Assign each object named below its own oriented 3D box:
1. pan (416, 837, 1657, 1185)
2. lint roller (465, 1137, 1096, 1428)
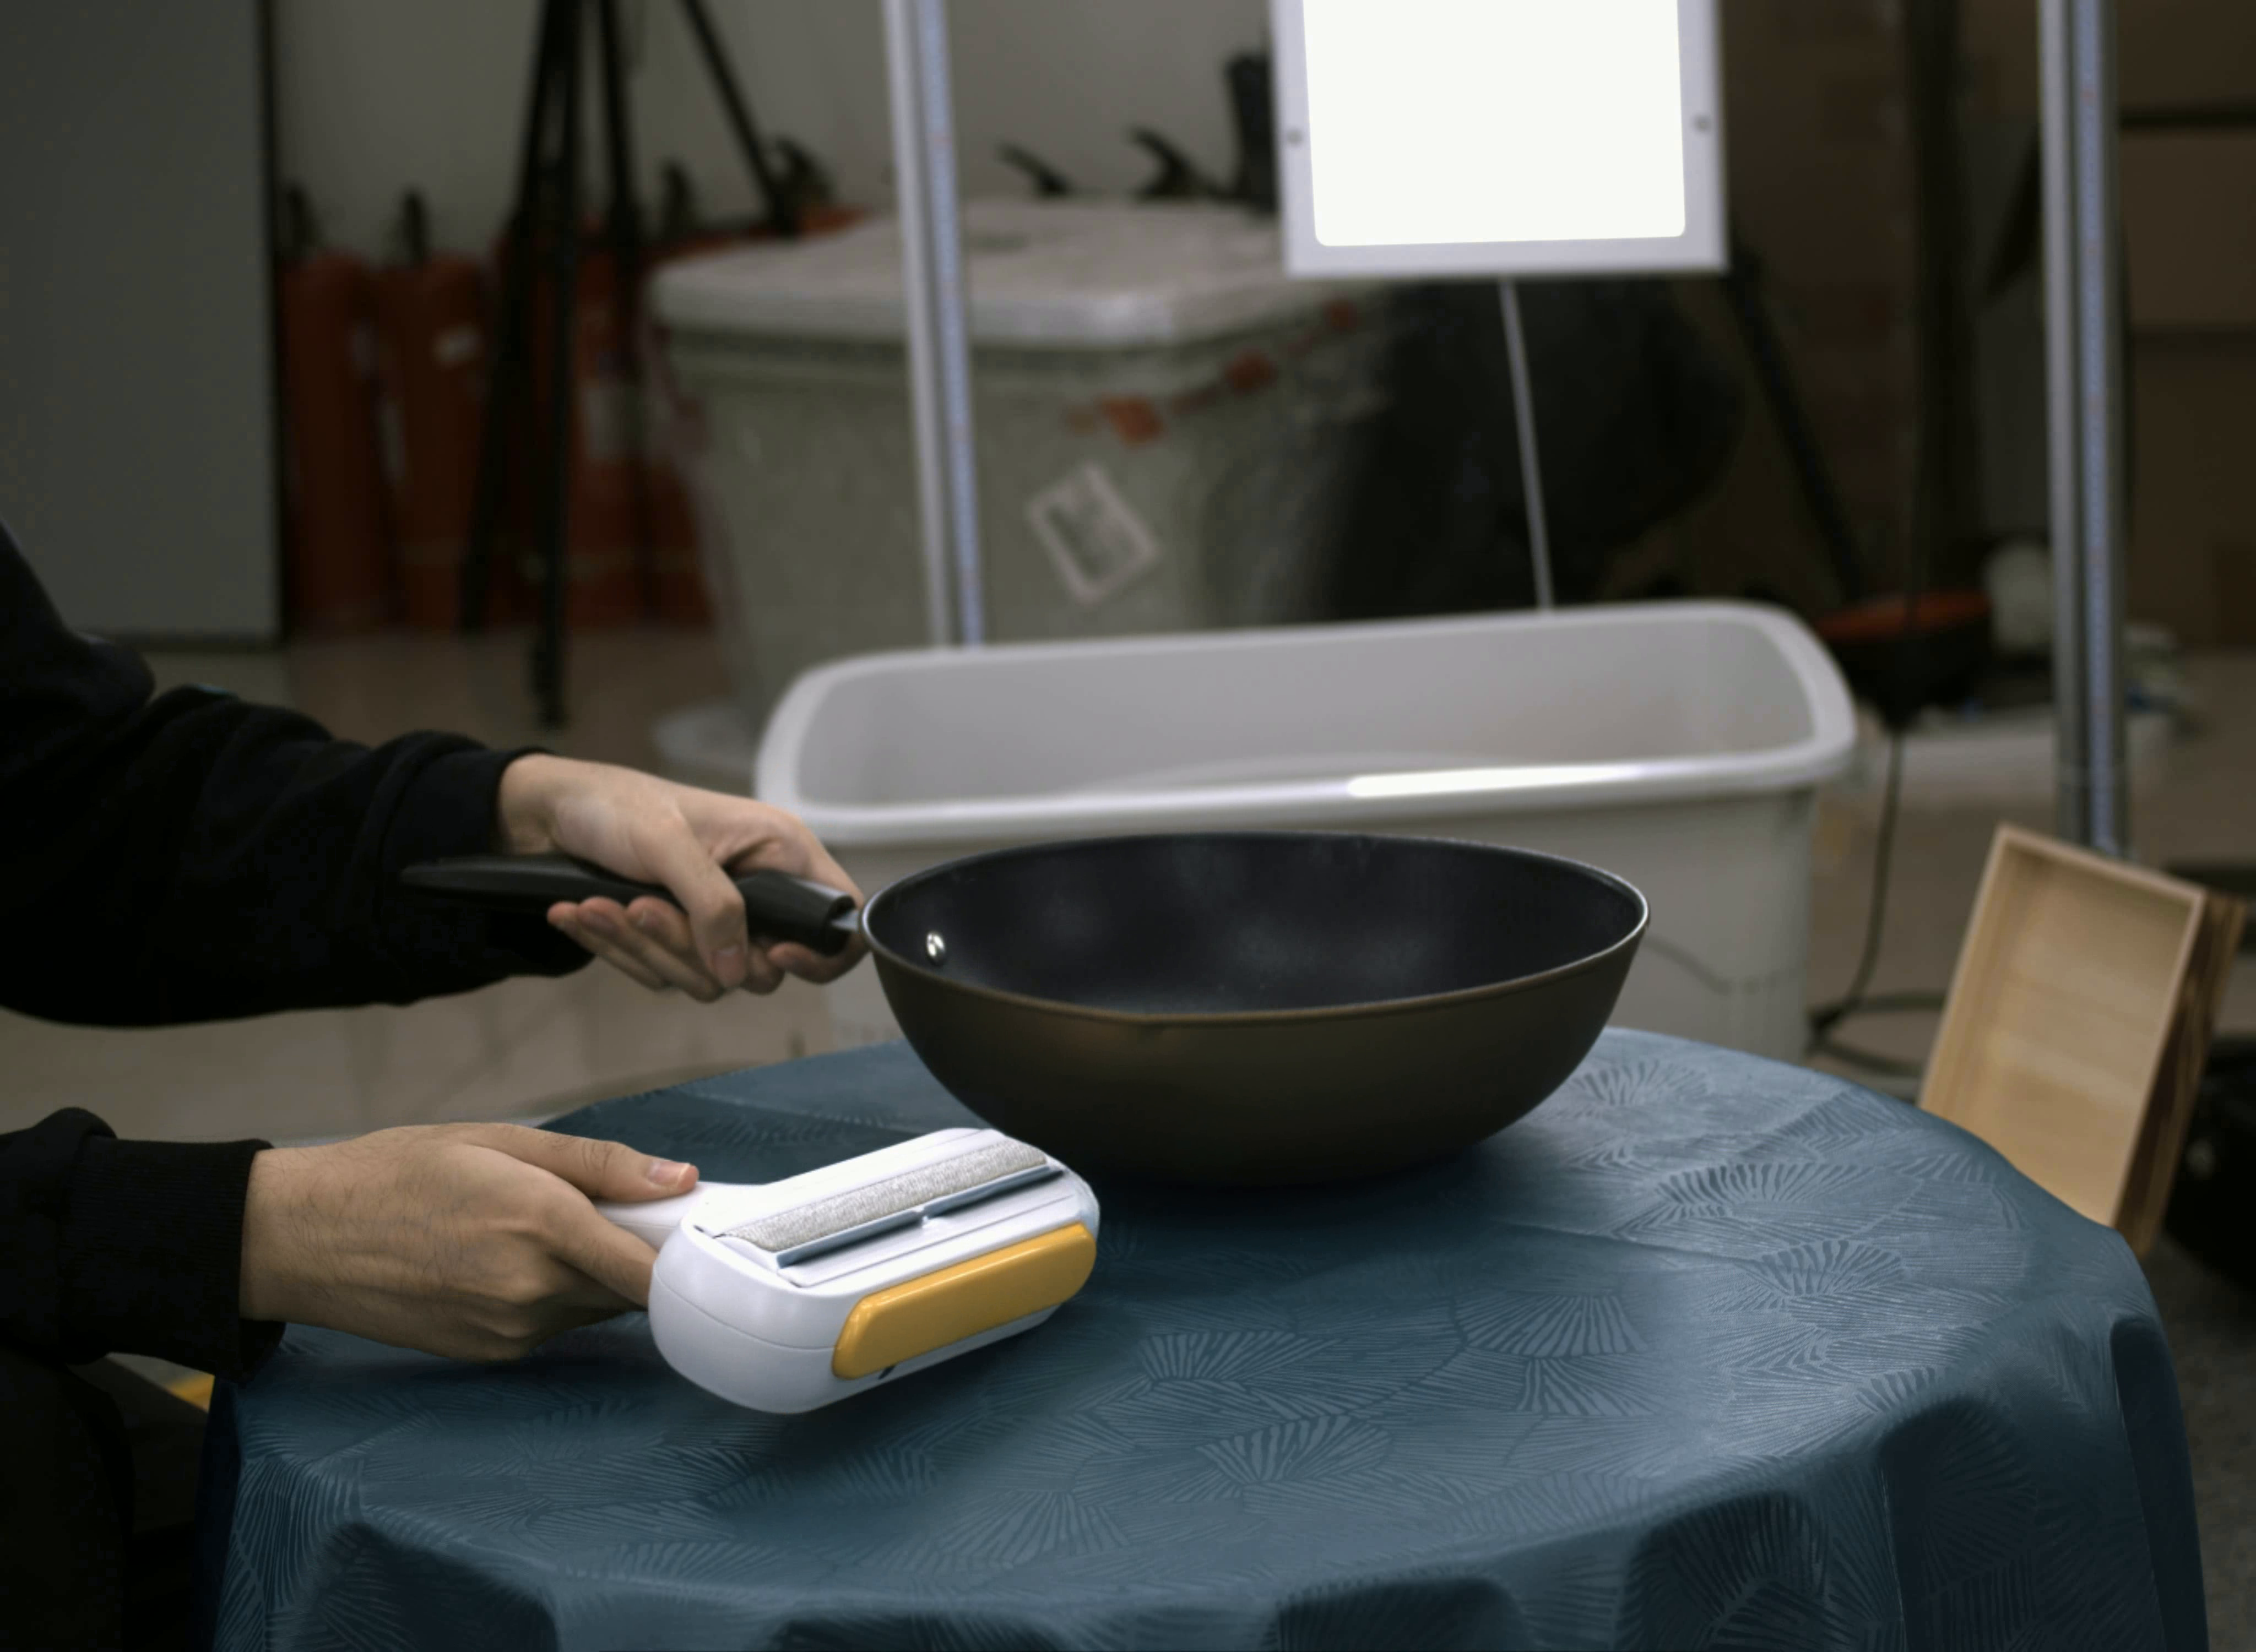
[{"bbox_3d":[-0.042,0.063,1.957,0.469,0.087,0.283,3,12,19],"label":"pan"},{"bbox_3d":[-0.129,0.129,1.743,0.196,0.074,0.188,18,21,32],"label":"lint roller"}]
